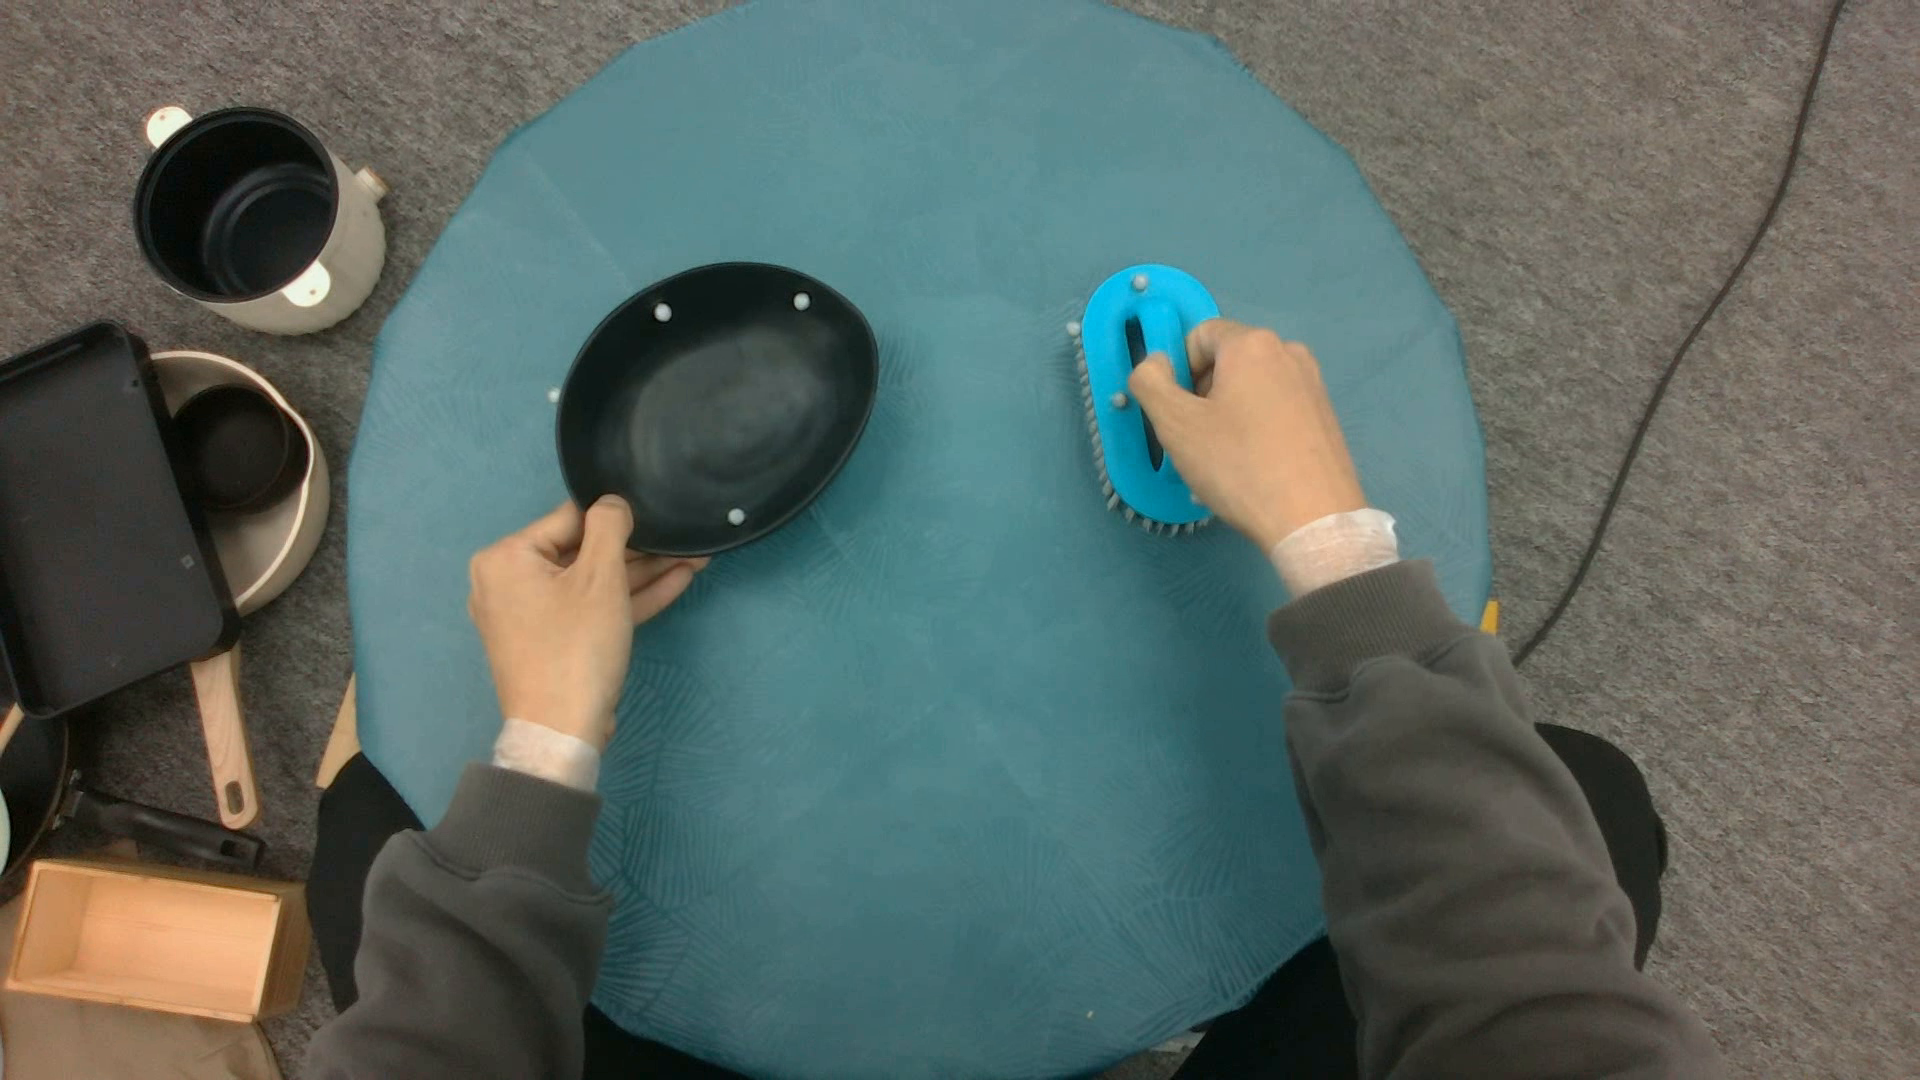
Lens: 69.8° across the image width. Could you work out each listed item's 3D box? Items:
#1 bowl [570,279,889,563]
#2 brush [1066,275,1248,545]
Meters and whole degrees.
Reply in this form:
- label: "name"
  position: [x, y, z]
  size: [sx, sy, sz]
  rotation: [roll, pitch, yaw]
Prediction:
- label: "bowl"
  position: [-0.116, -0.059, 0.715]
  size: [0.170, 0.066, 0.137]
  rotation: [-39, 82, -7]
- label: "brush"
  position: [0.105, -0.071, 0.711]
  size: [0.084, 0.063, 0.142]
  rotation: [-7, 81, -5]
